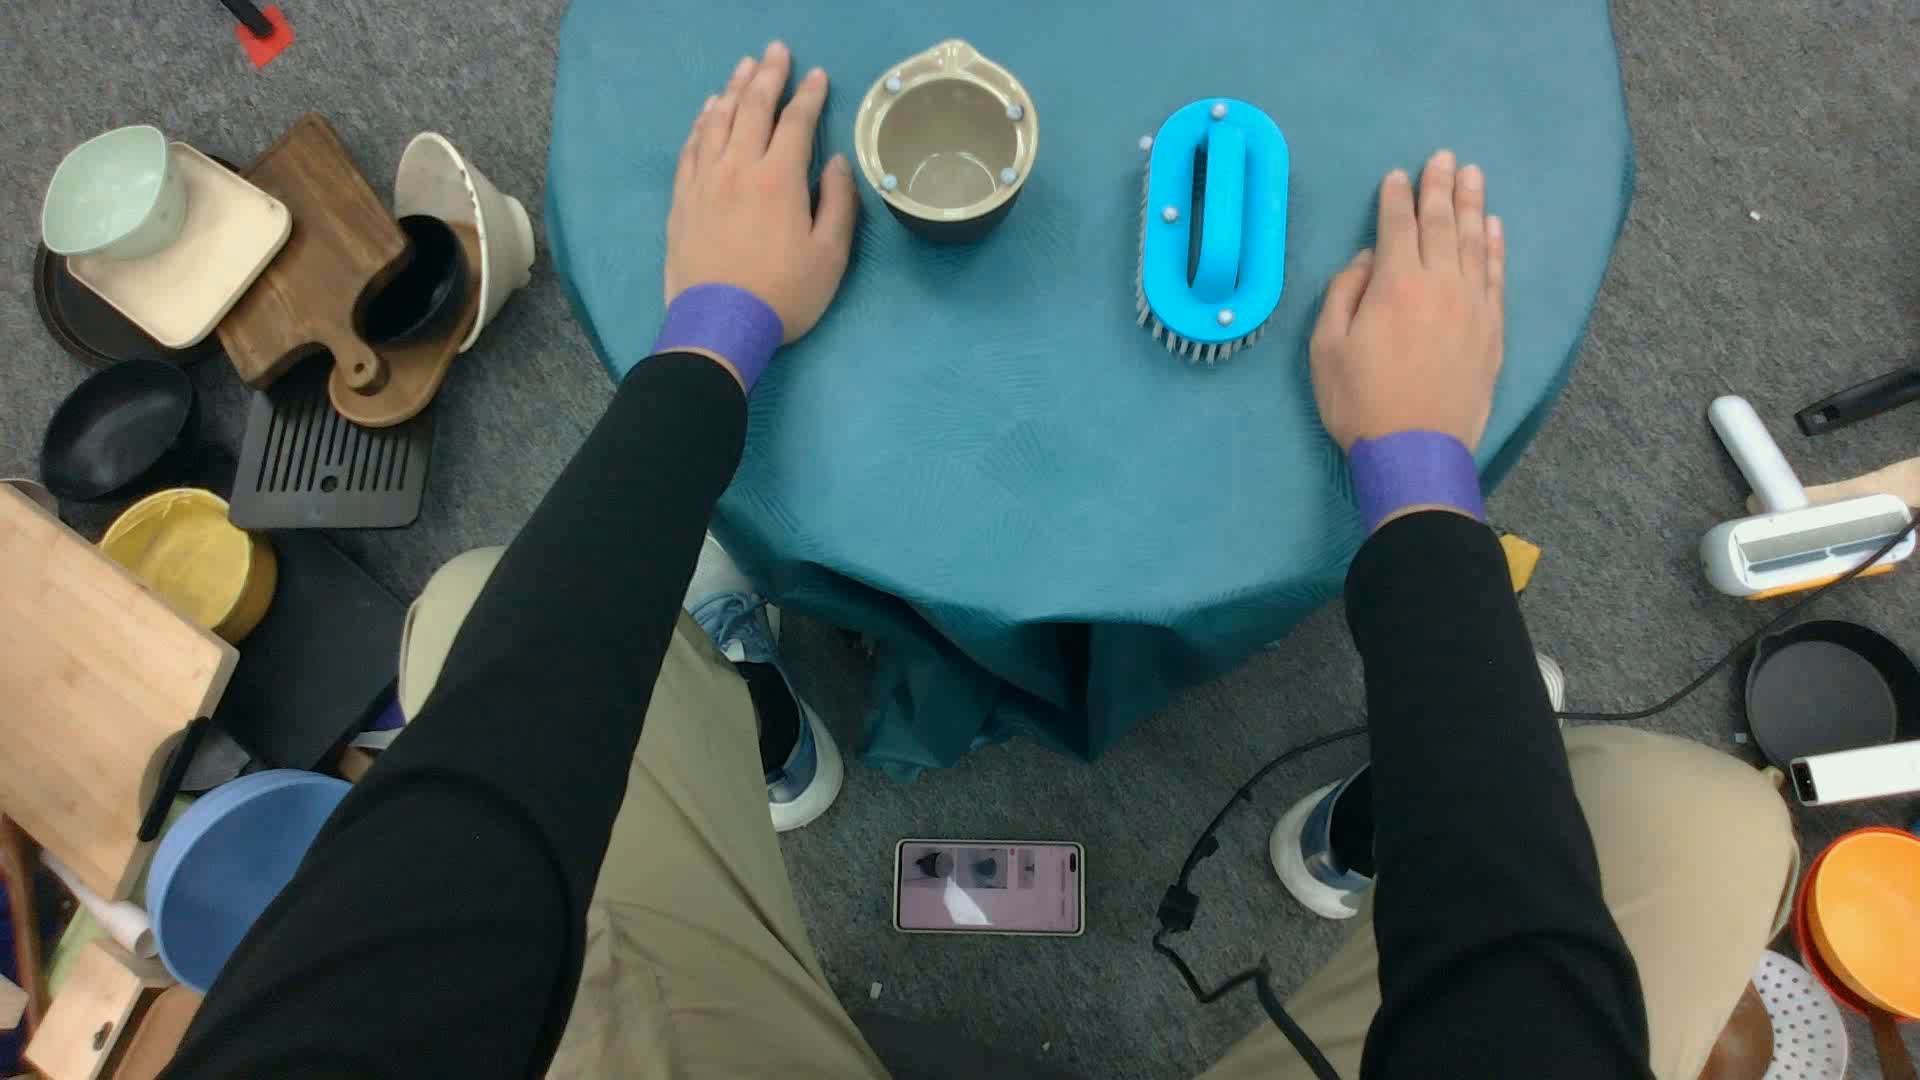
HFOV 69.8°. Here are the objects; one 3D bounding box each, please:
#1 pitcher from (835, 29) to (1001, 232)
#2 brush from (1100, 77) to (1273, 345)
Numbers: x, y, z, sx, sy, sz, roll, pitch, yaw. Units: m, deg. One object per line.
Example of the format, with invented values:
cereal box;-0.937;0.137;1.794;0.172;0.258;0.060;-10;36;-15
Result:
pitcher;-0.019;-0.207;0.724;0.083;0.071;0.096;9;76;5
brush;0.120;-0.178;0.718;0.084;0.063;0.142;6;78;-1
